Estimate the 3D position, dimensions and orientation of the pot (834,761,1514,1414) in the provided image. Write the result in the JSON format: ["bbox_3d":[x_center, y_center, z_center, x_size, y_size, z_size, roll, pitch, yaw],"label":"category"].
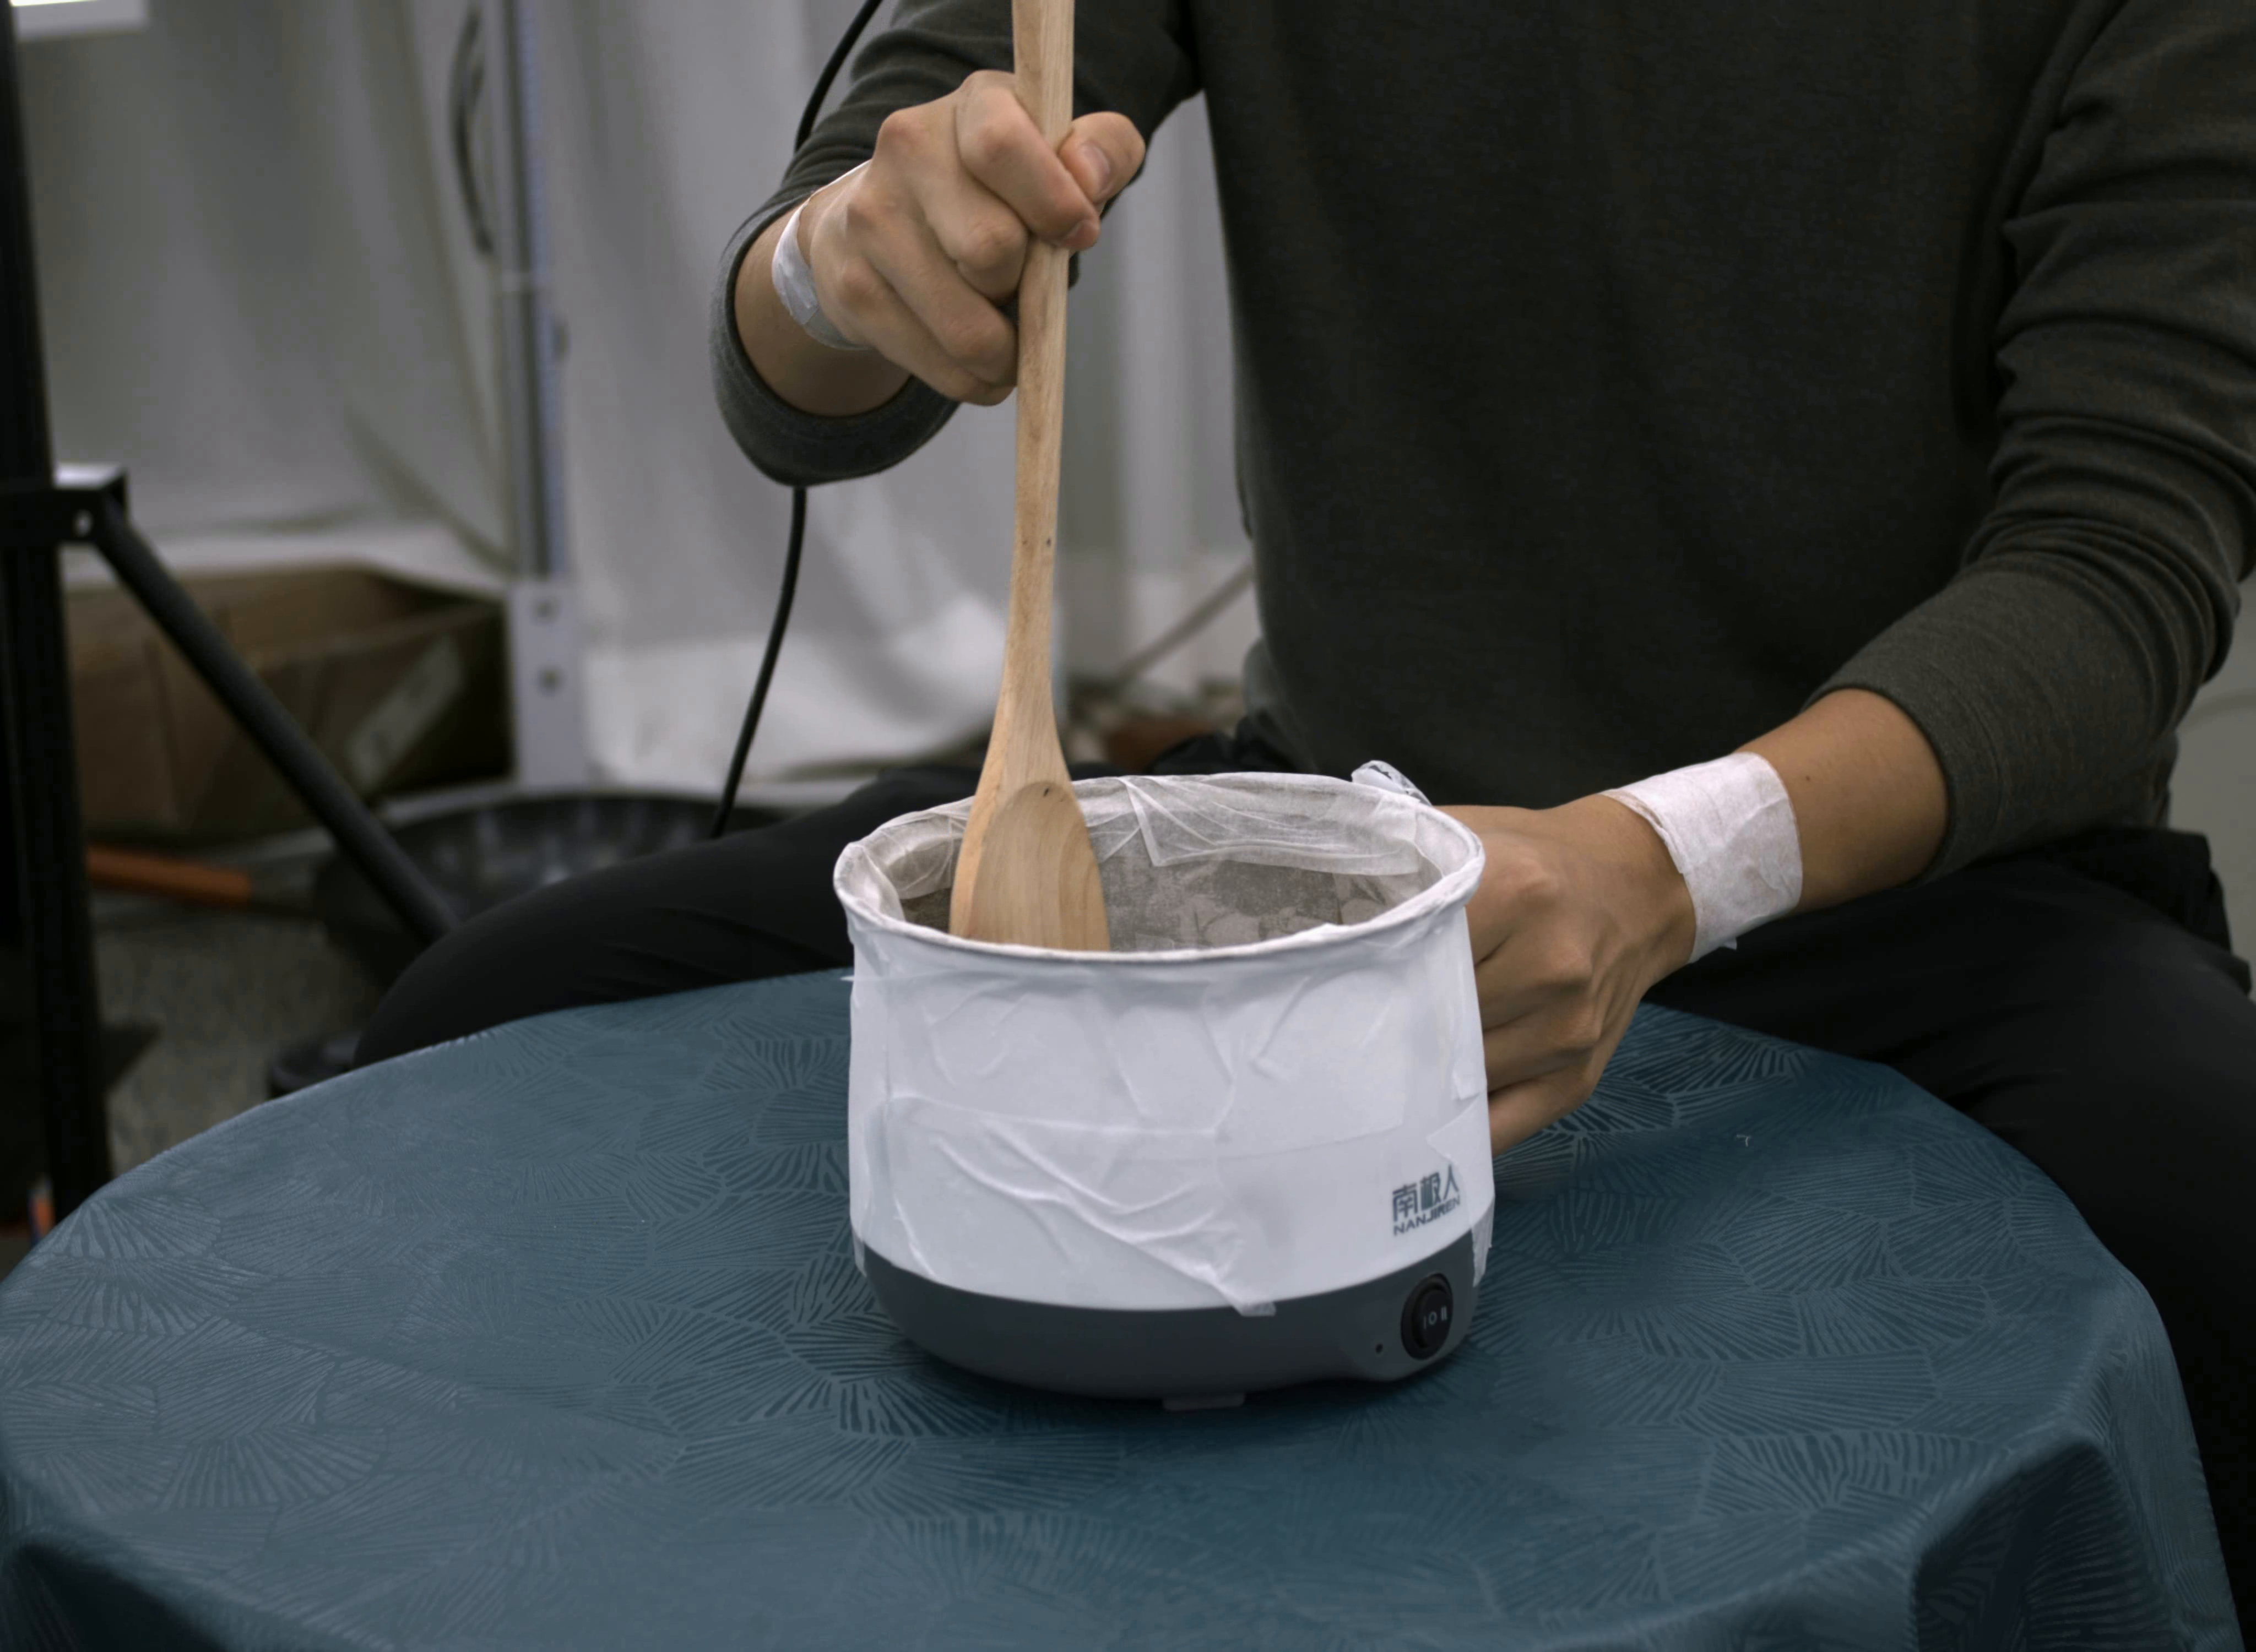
[{"bbox_3d":[0.028,0.064,1.464,0.182,0.136,0.229,10,20,38],"label":"pot"}]

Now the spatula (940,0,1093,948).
[{"bbox_3d":[-0.027,-0.111,1.441,0.019,0.392,0.094,5,10,21],"label":"spatula"}]
